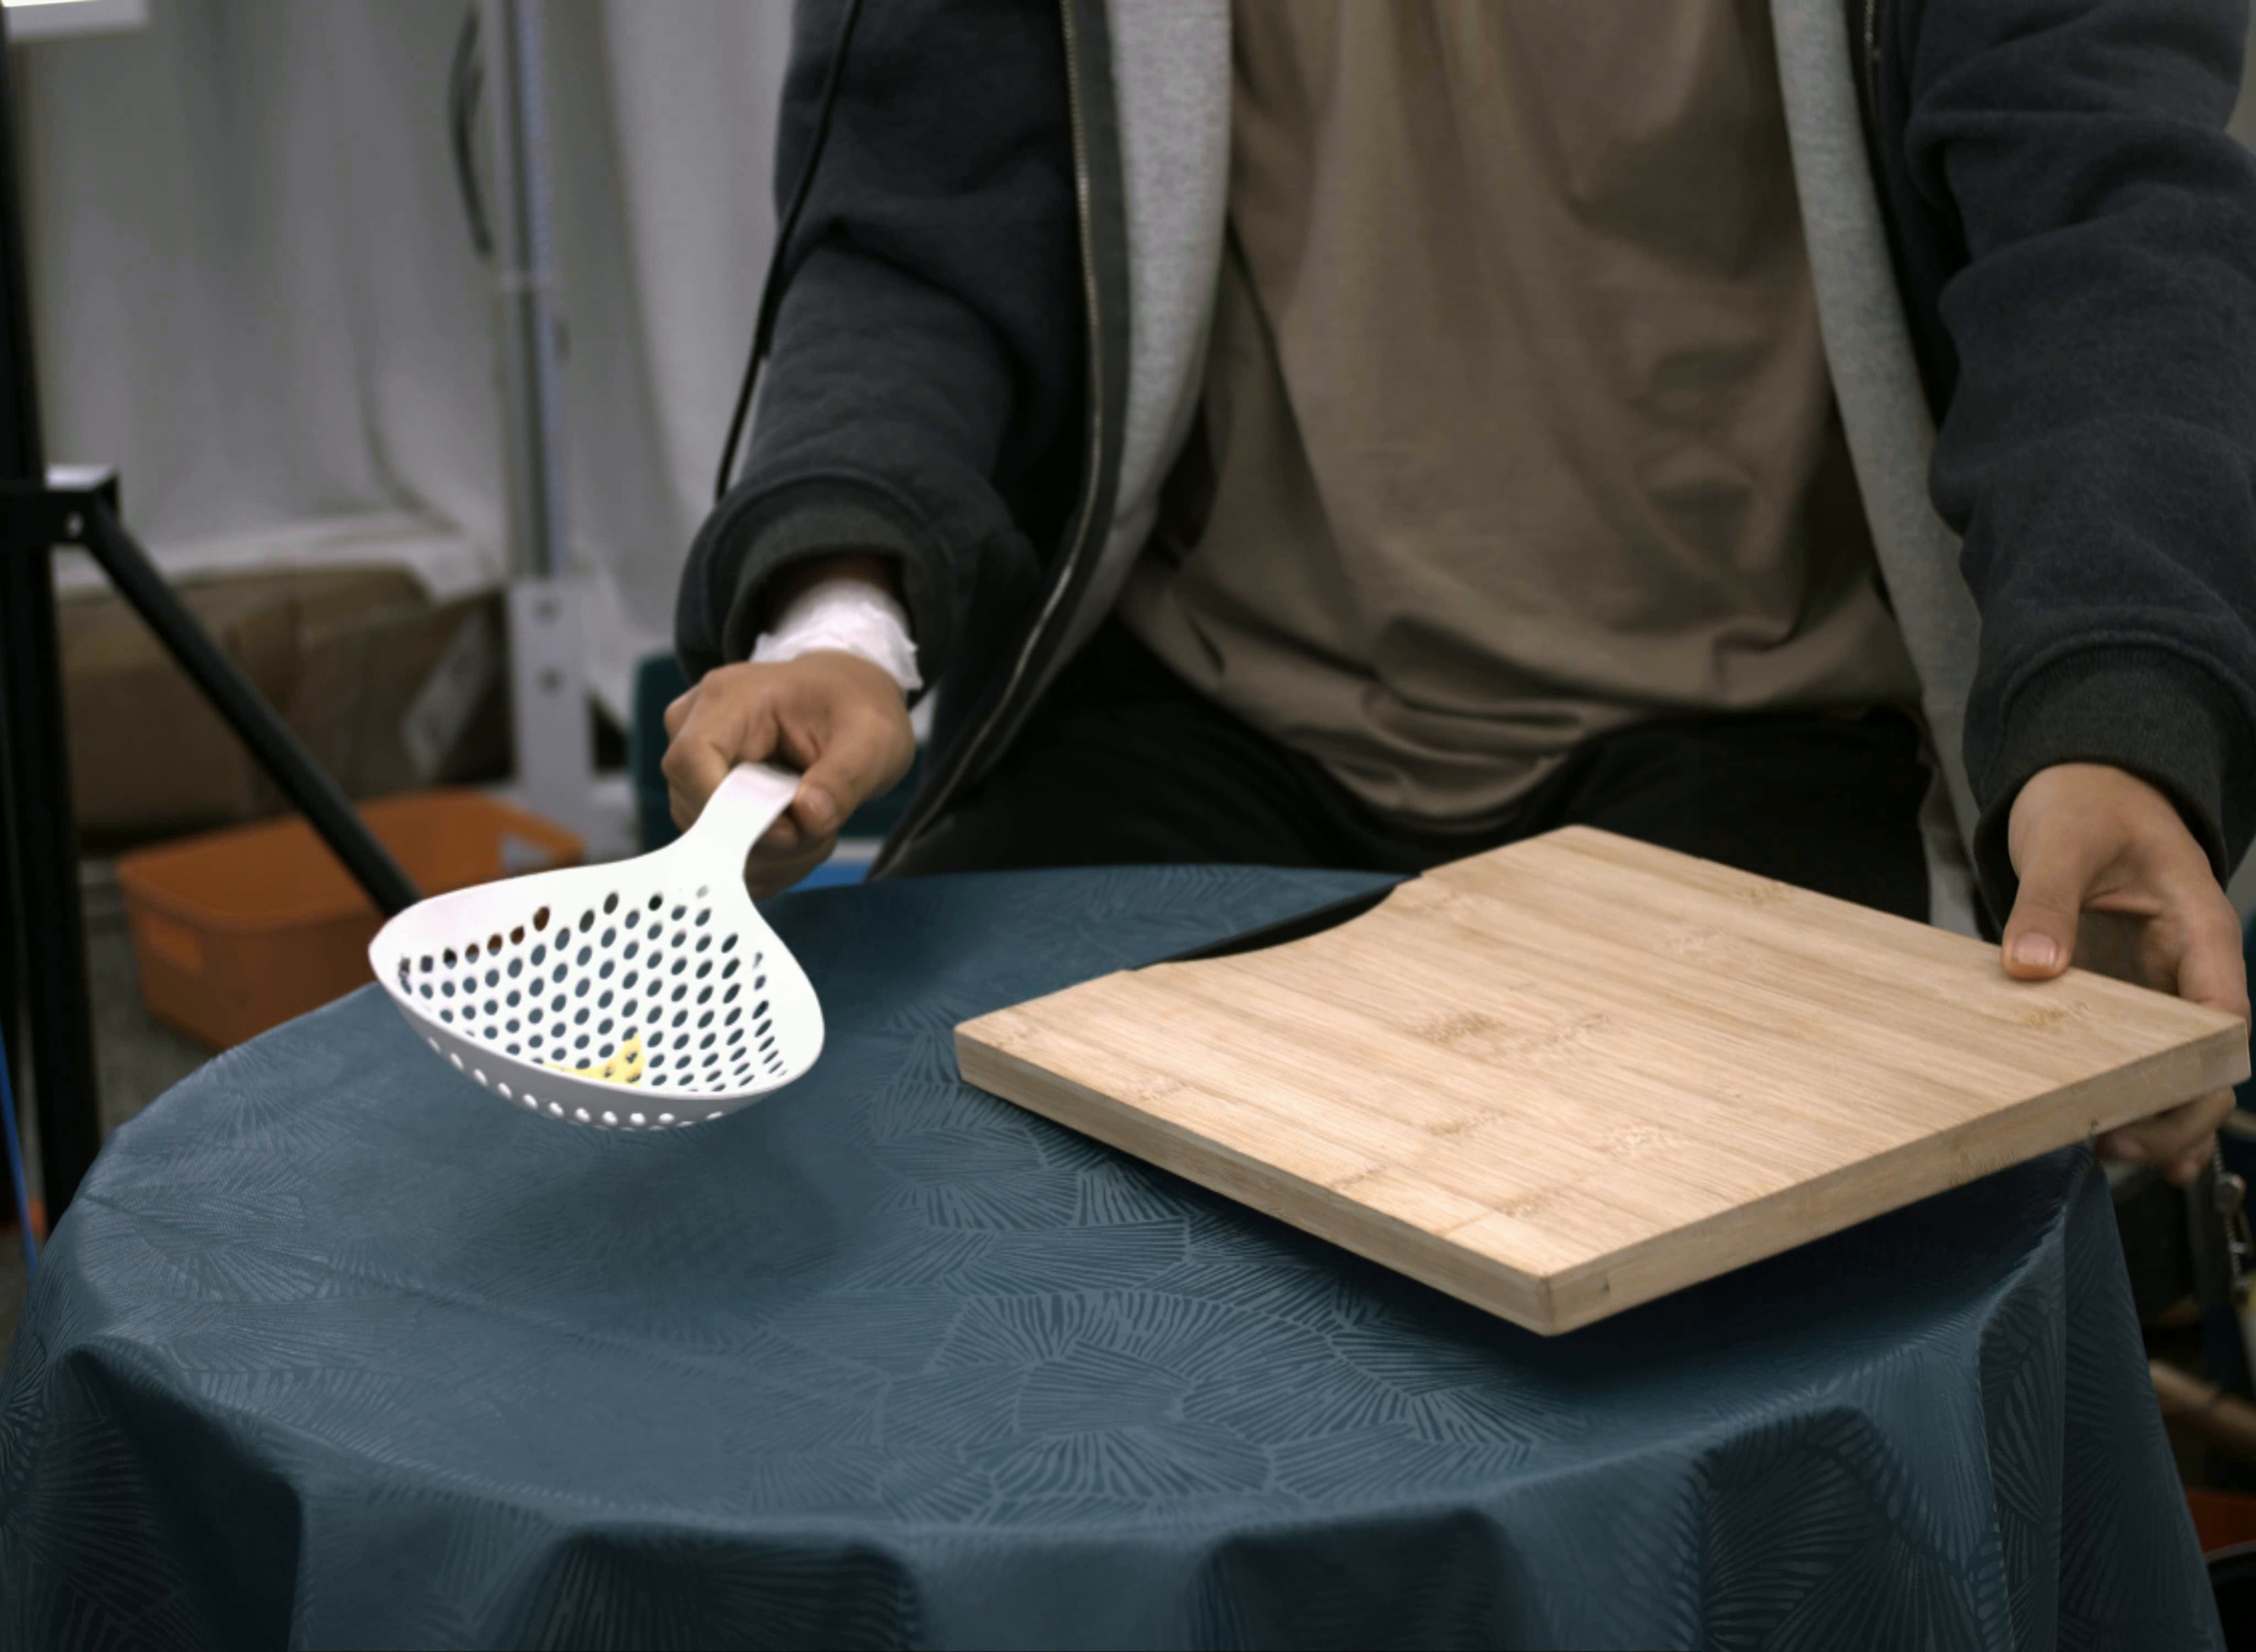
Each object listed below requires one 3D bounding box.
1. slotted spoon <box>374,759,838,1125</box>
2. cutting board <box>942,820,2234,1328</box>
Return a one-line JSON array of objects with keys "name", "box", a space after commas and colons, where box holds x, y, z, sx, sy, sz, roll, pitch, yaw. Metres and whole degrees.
[{"name": "slotted spoon", "box": [-0.139, 0.023, 1.659, 0.137, 0.050, 0.347, 15, 22, 4]}, {"name": "cutting board", "box": [0.127, 0.066, 1.572, 0.246, 0.023, 0.356, -18, 17, -26]}]
